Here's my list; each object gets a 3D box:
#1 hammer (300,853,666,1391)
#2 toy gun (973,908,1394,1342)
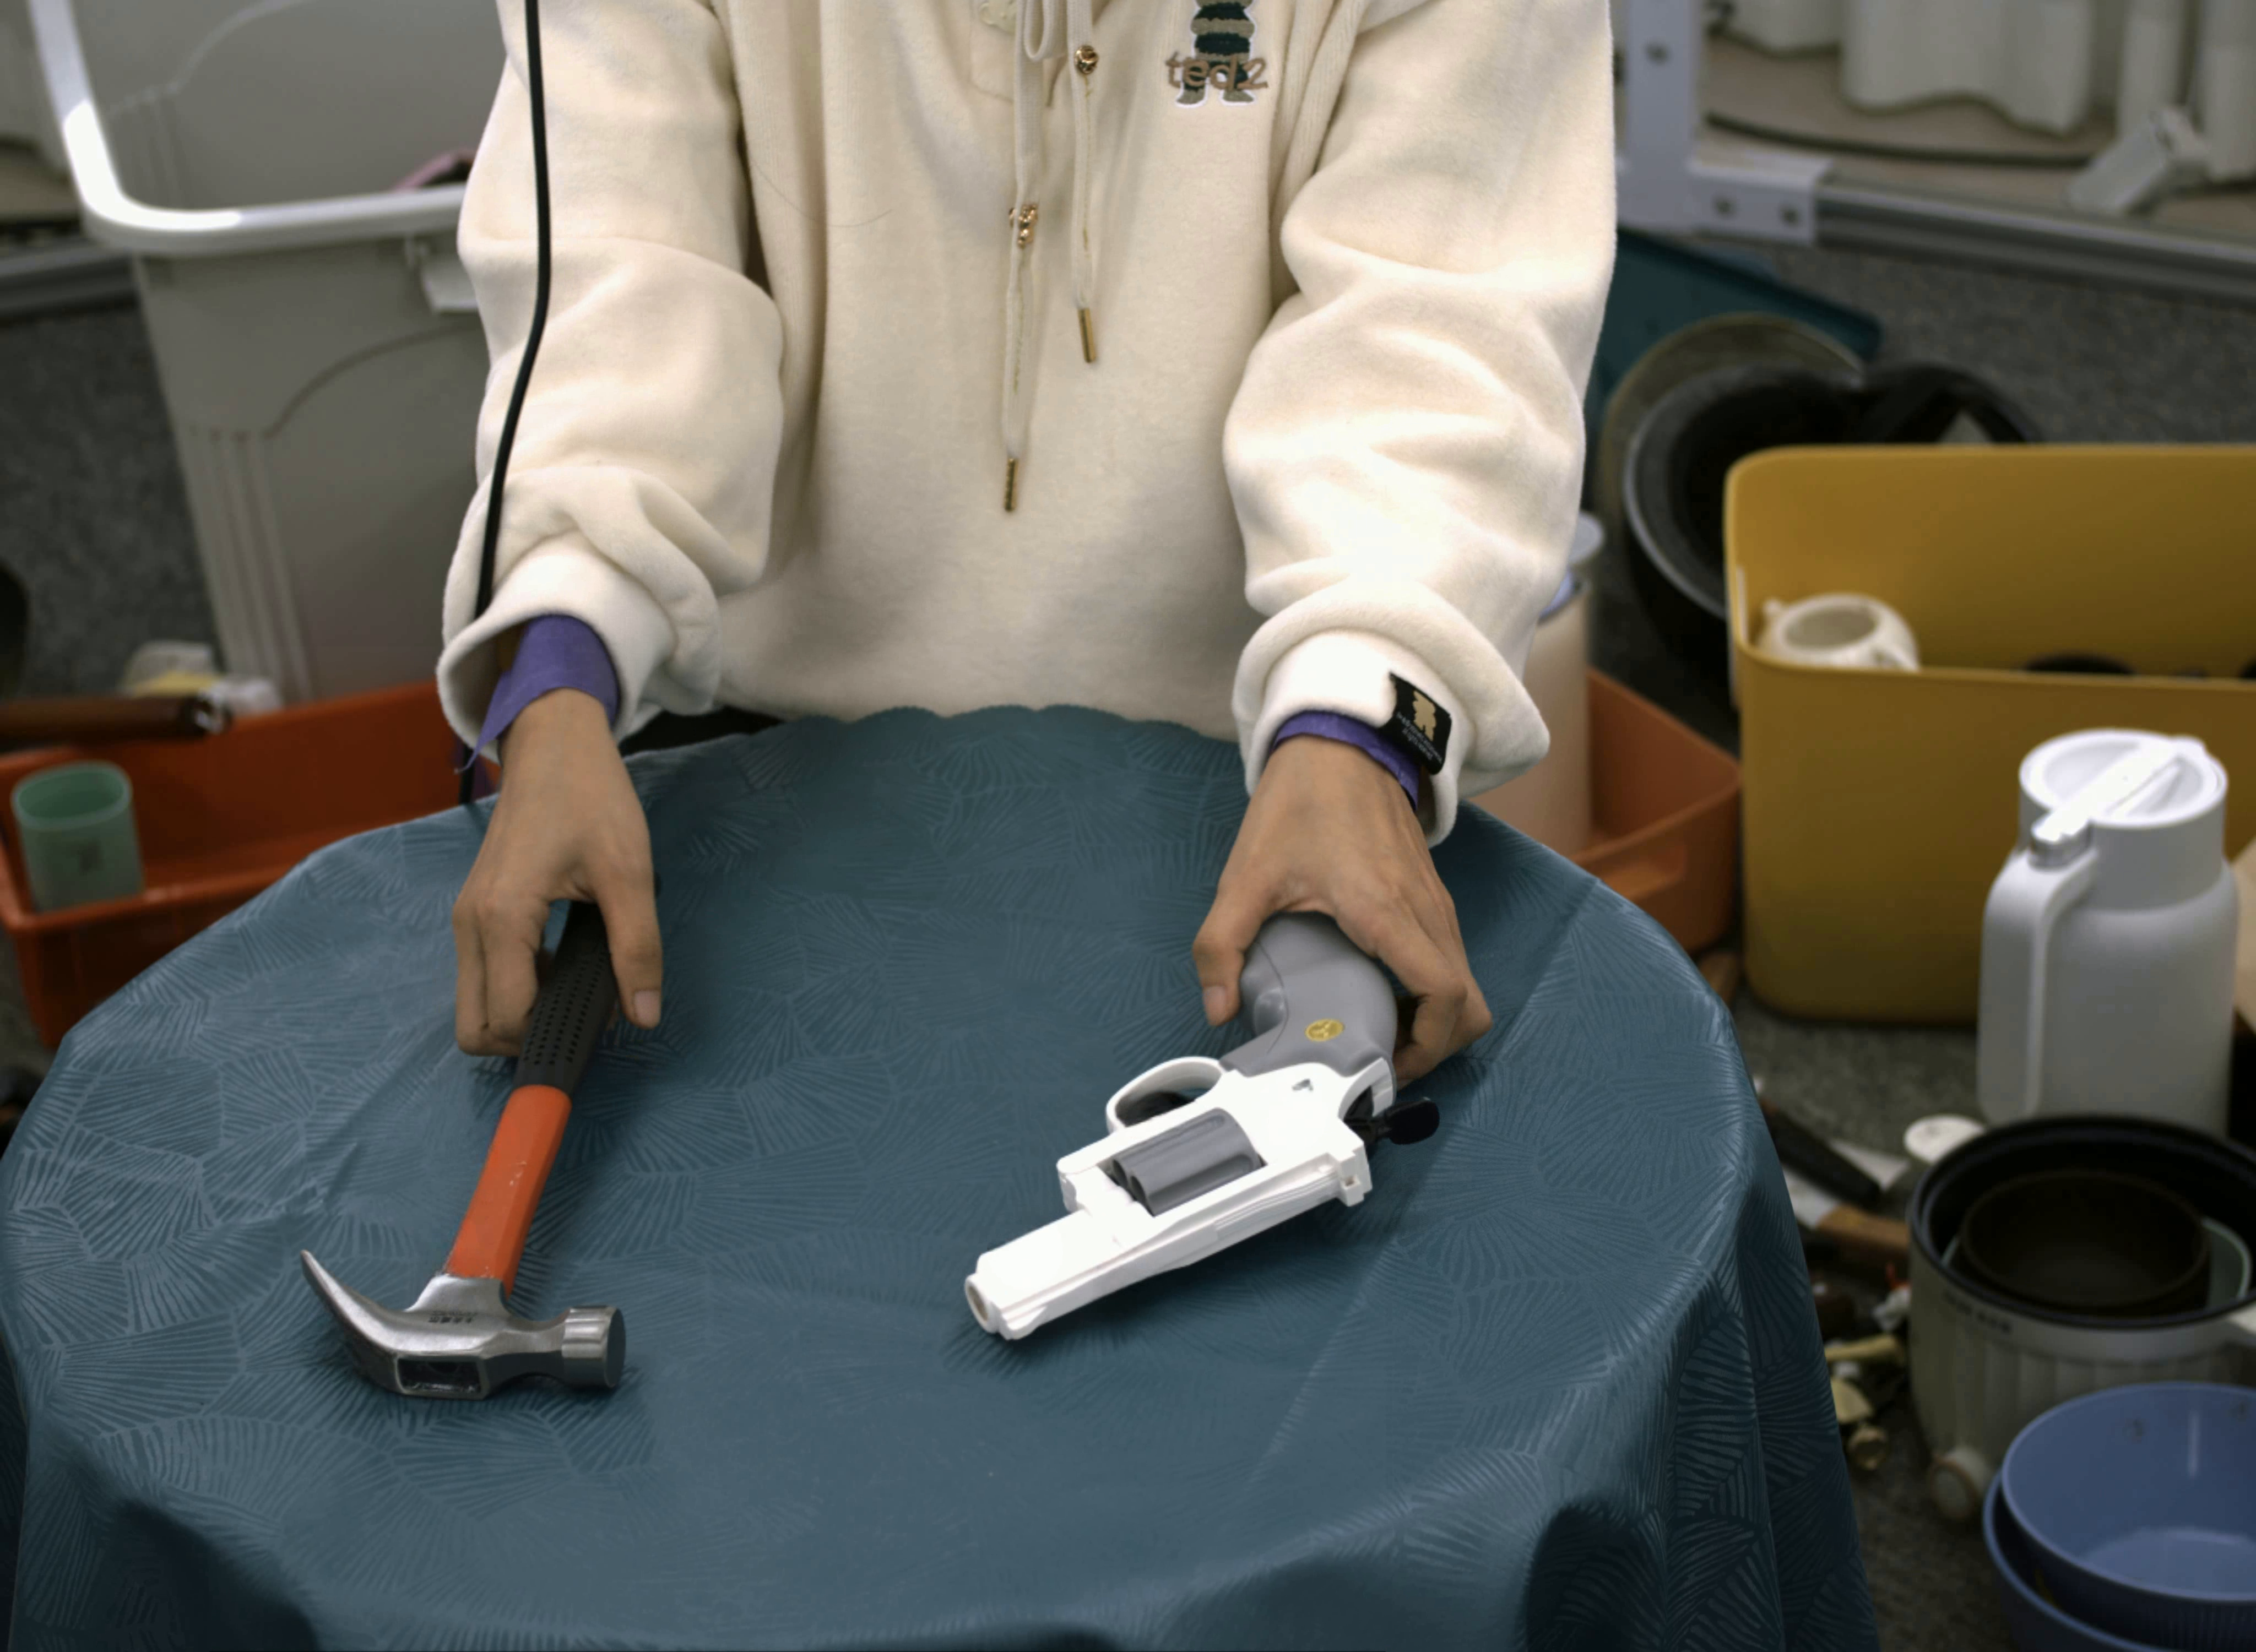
[{"bbox_3d":[-0.199,0.094,1.877,0.110,0.026,0.282,-8,31,14],"label":"hammer"},{"bbox_3d":[0.018,0.098,1.857,0.210,0.038,0.142,-23,33,-24],"label":"toy gun"}]
